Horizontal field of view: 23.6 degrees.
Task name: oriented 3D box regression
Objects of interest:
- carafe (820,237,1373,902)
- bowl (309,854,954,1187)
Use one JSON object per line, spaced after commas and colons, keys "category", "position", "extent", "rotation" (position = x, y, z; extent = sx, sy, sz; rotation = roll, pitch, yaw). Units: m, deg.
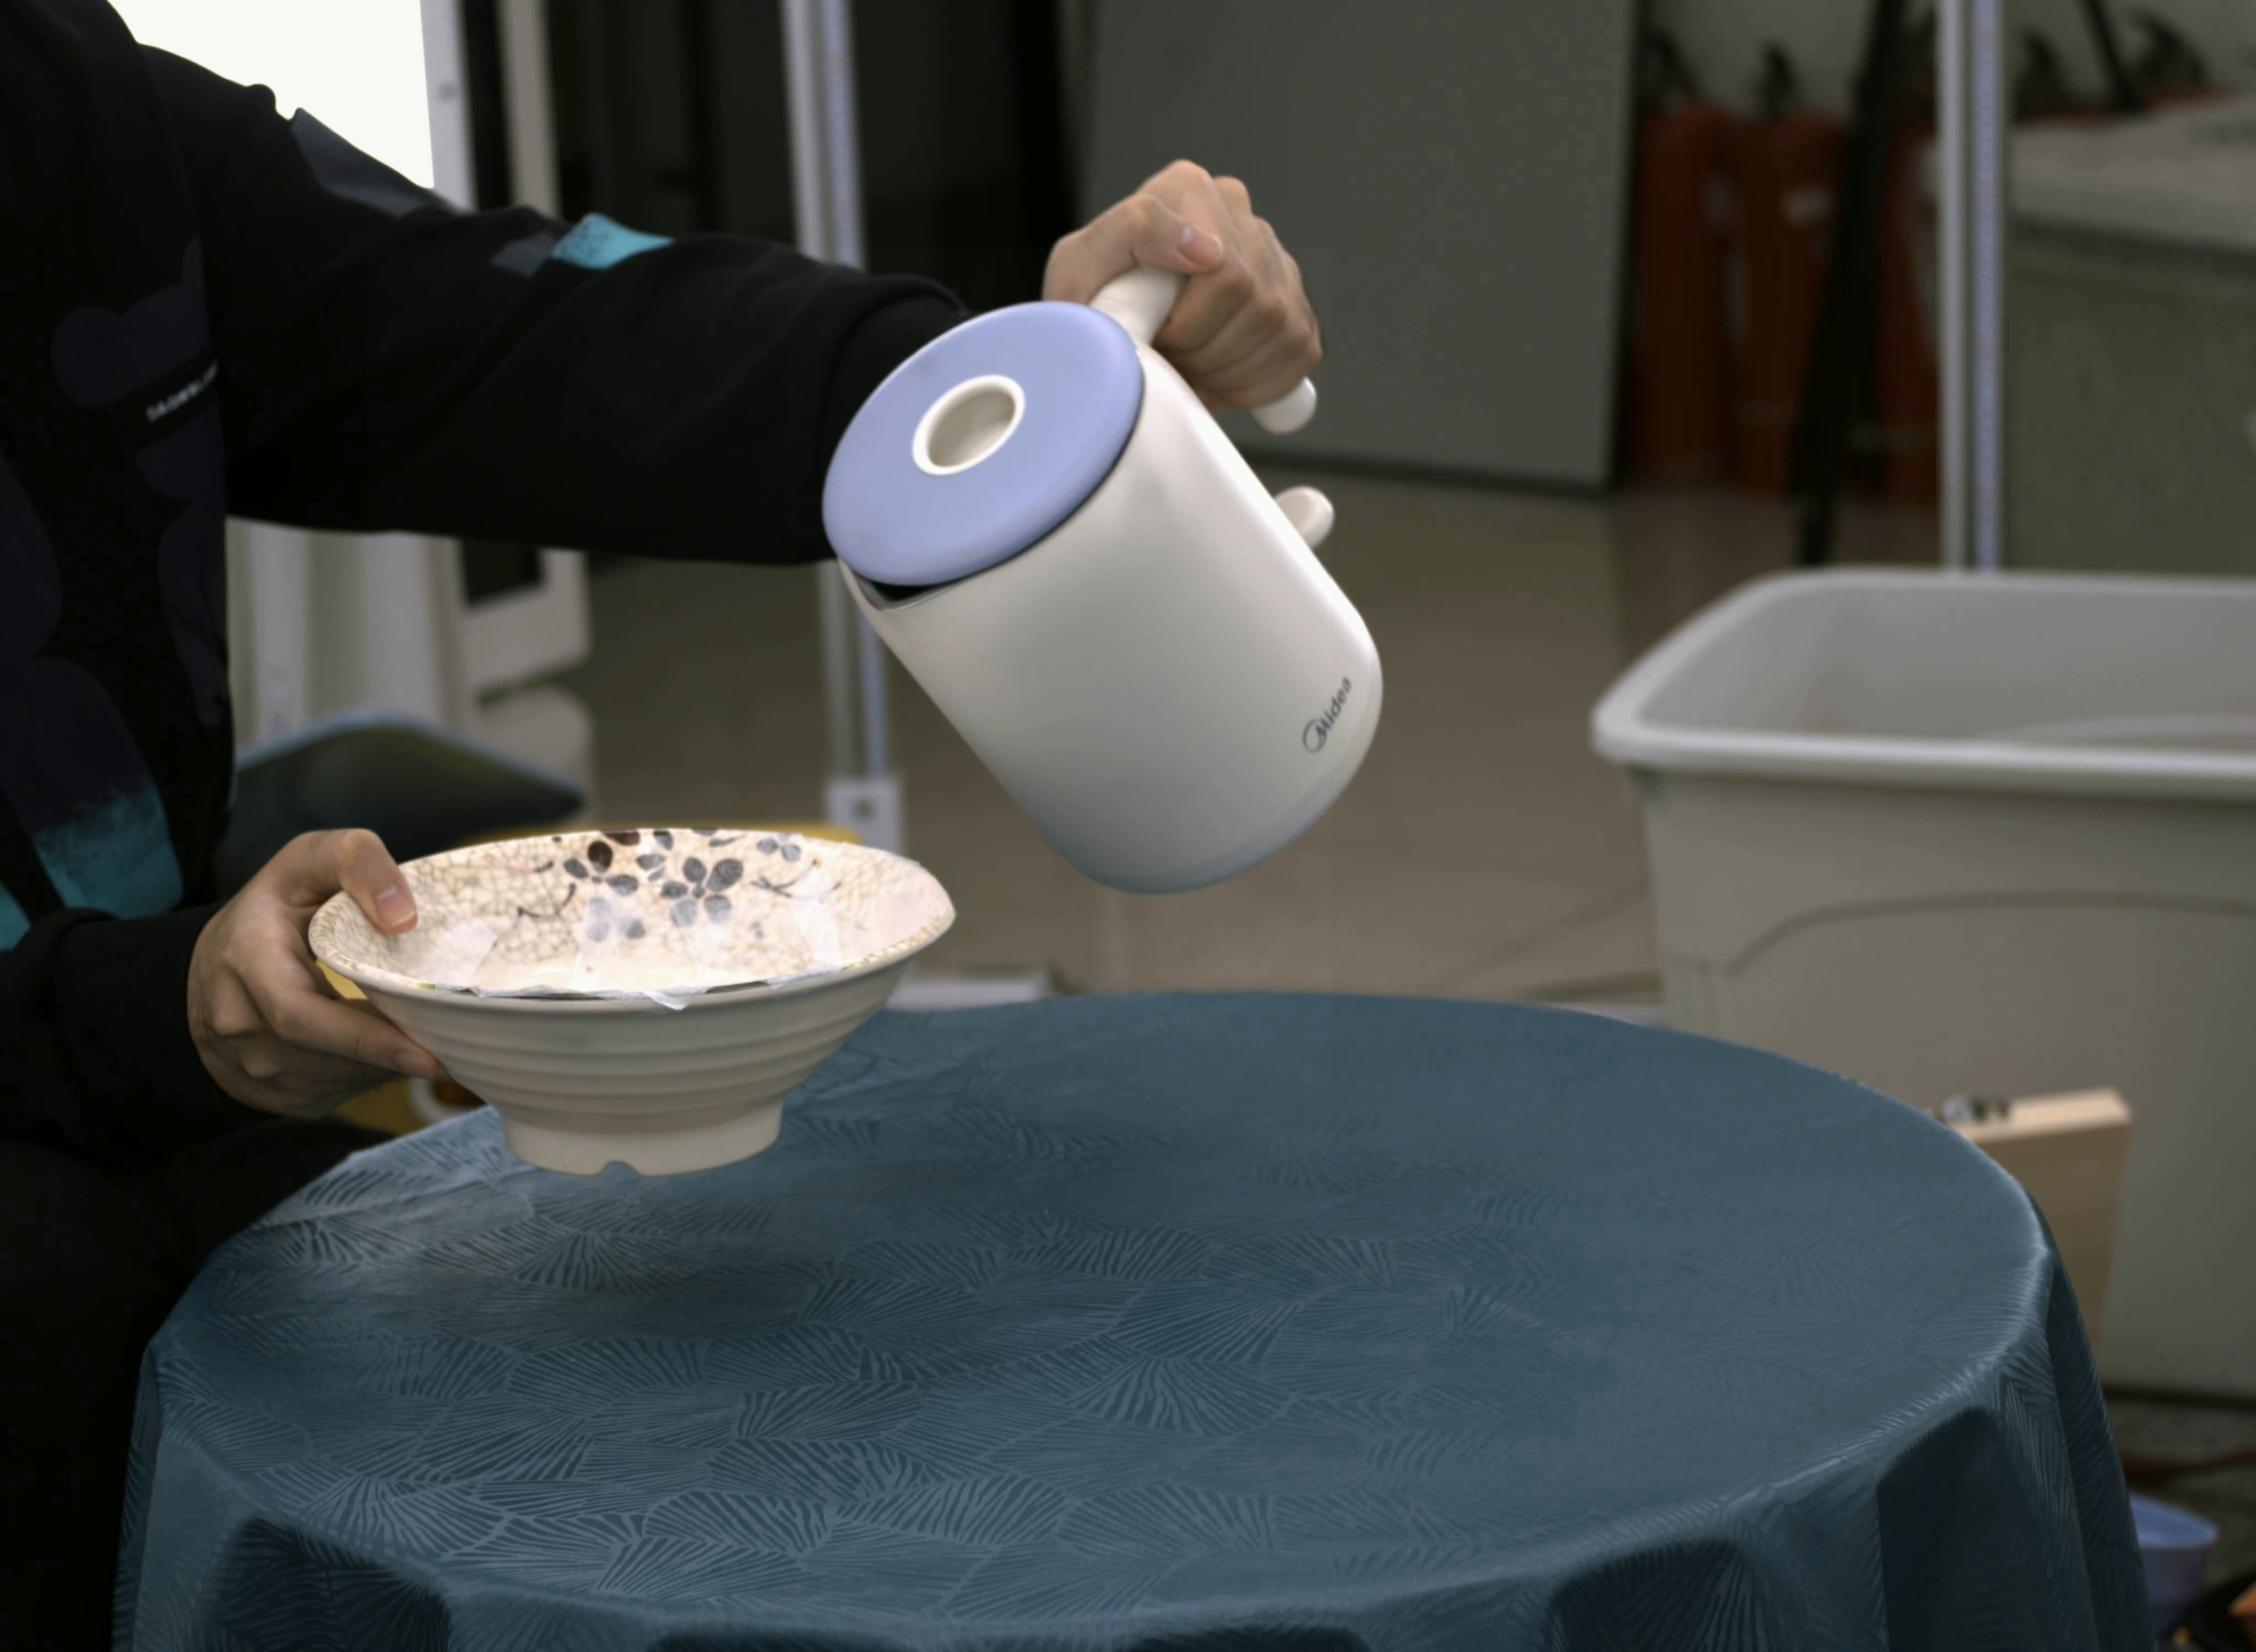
{"category": "carafe", "position": [0.001, -0.095, 1.794], "extent": [0.133, 0.181, 0.191], "rotation": [5, 53, 40]}
{"category": "bowl", "position": [-0.152, 0.065, 1.697], "extent": [0.201, 0.079, 0.204], "rotation": [-4, 10, 0]}
